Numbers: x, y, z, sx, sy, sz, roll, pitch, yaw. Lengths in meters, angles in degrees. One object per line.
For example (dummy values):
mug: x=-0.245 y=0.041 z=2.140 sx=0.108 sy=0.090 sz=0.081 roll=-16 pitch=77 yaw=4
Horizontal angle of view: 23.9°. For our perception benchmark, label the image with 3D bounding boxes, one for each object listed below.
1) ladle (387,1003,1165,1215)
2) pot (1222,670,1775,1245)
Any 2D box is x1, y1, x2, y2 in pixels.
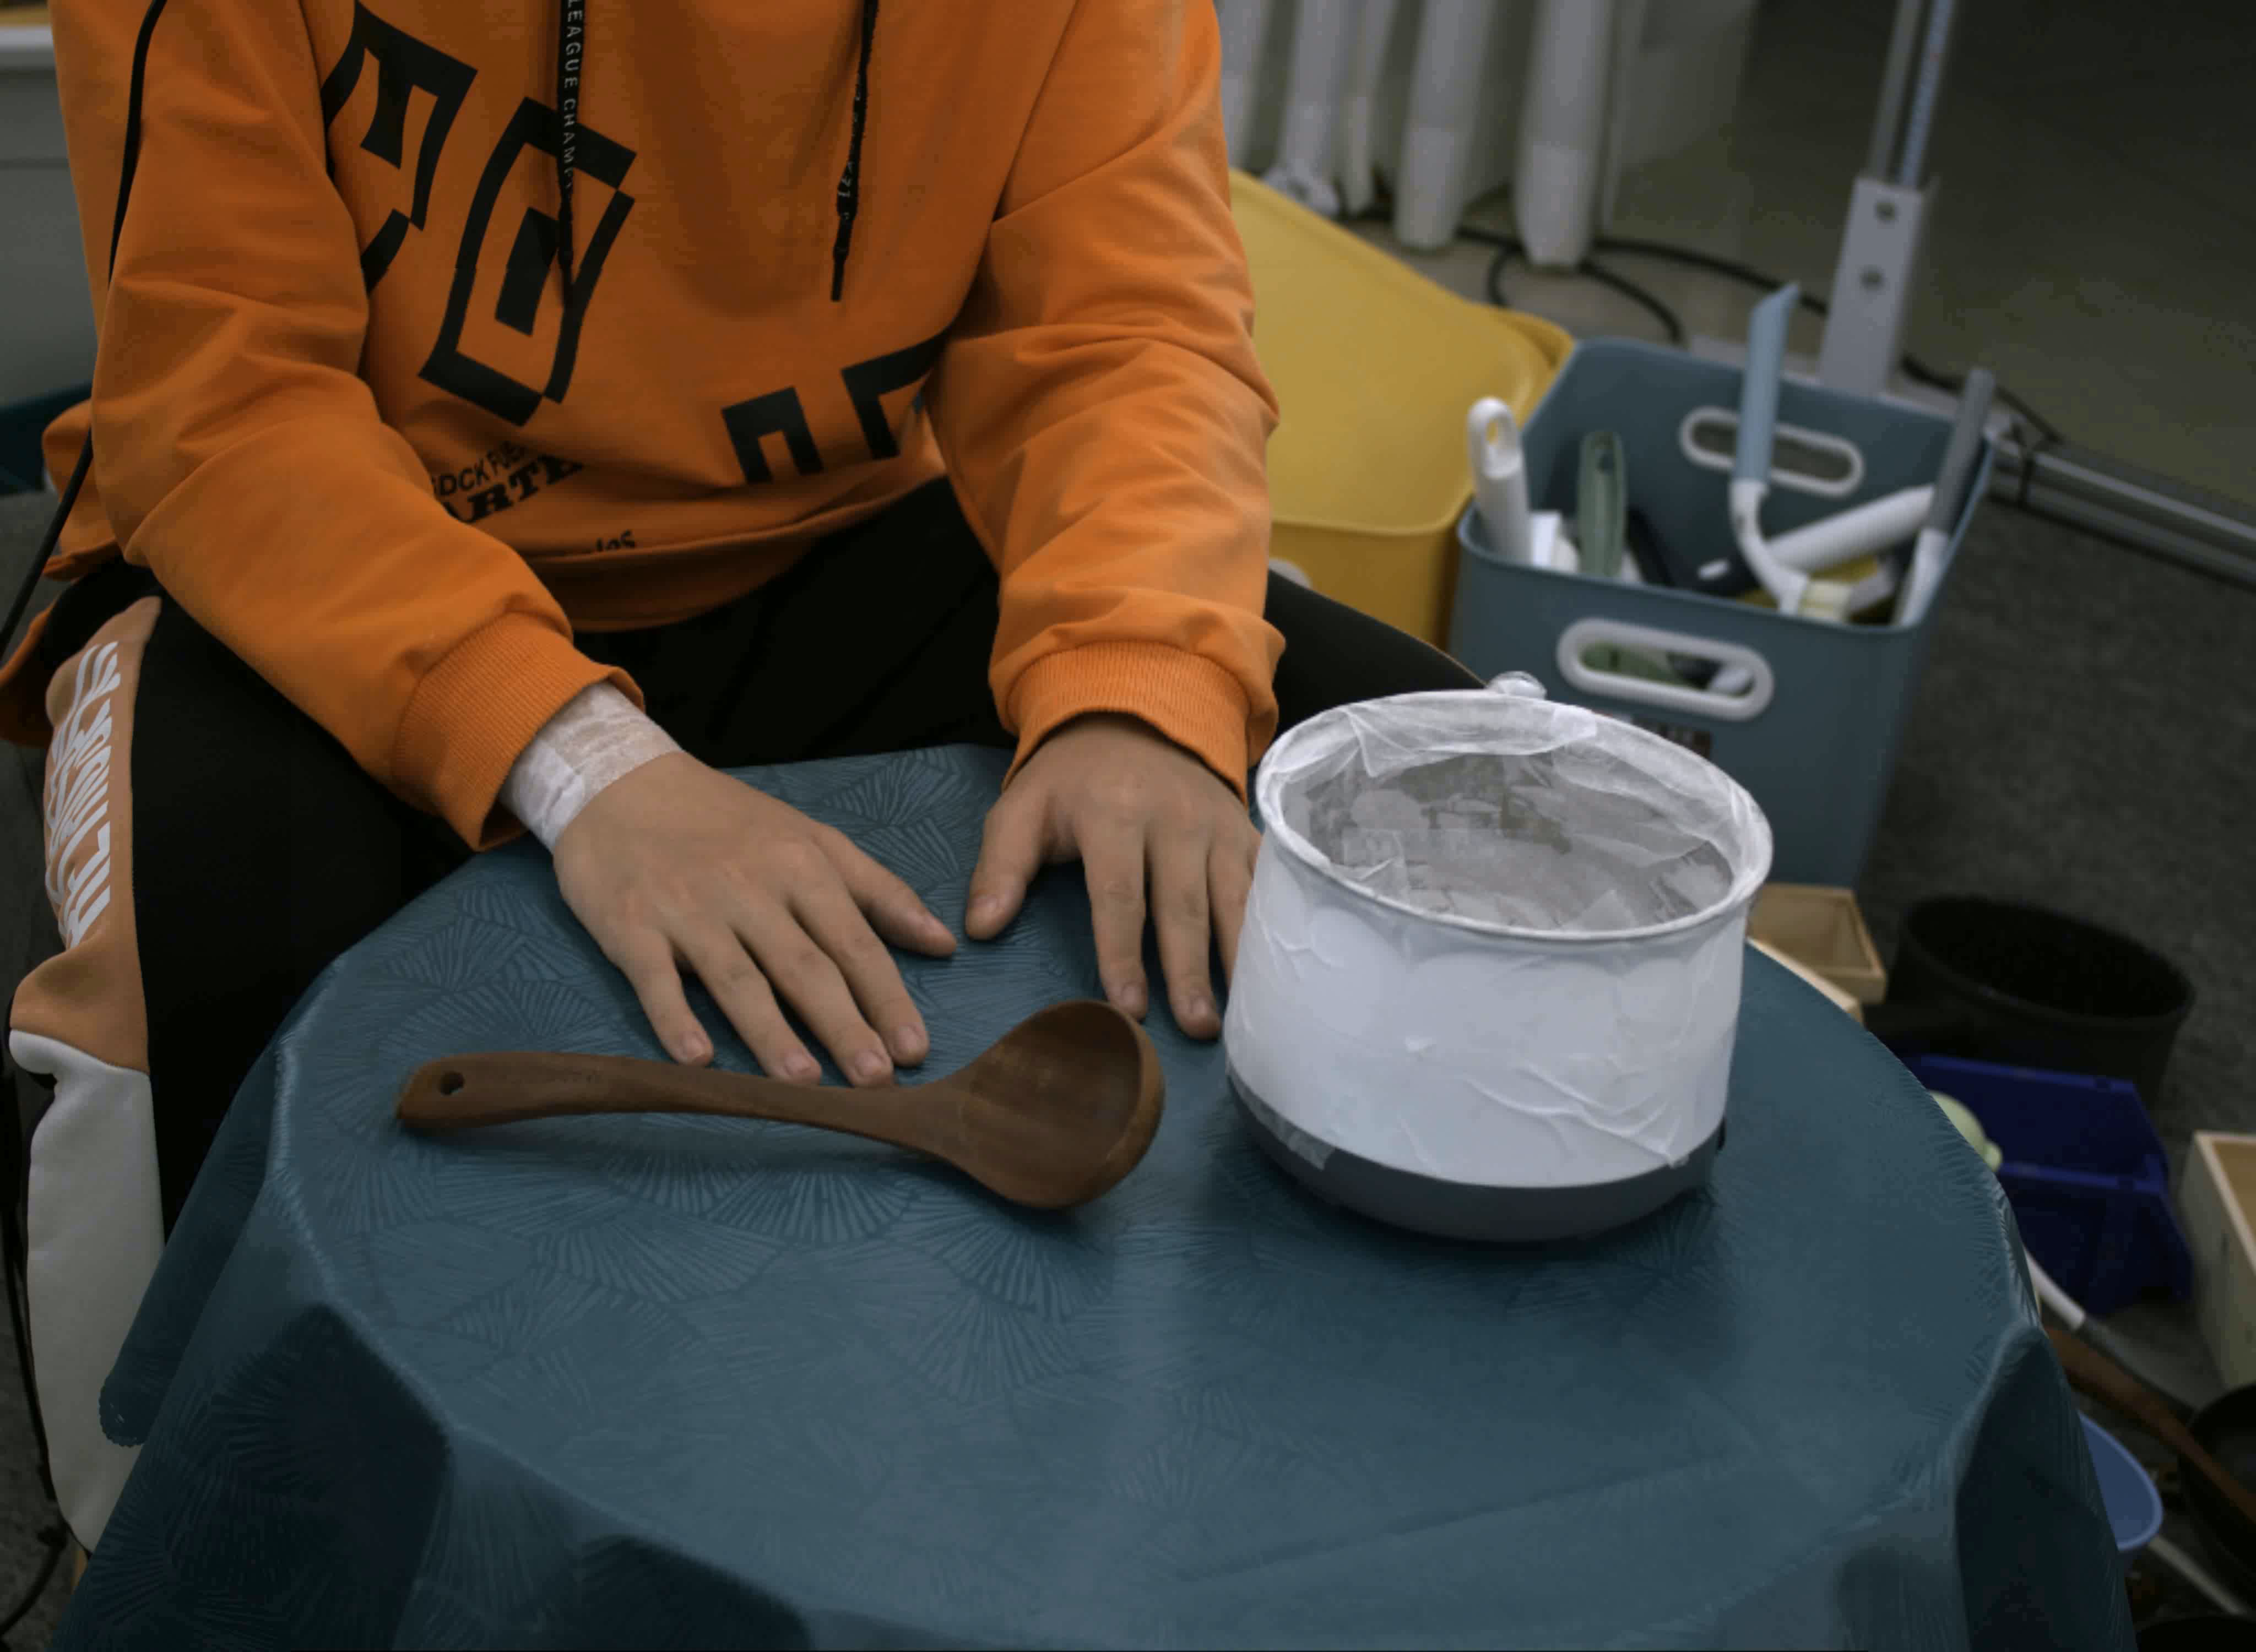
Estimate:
ladle: x=-0.118 y=0.088 z=1.781 sx=0.259 sy=0.065 sz=0.077 roll=5 pitch=52 yaw=-4
pot: x=0.125 y=0.038 z=1.848 sx=0.178 sy=0.136 sz=0.235 roll=7 pitch=27 yaw=0
